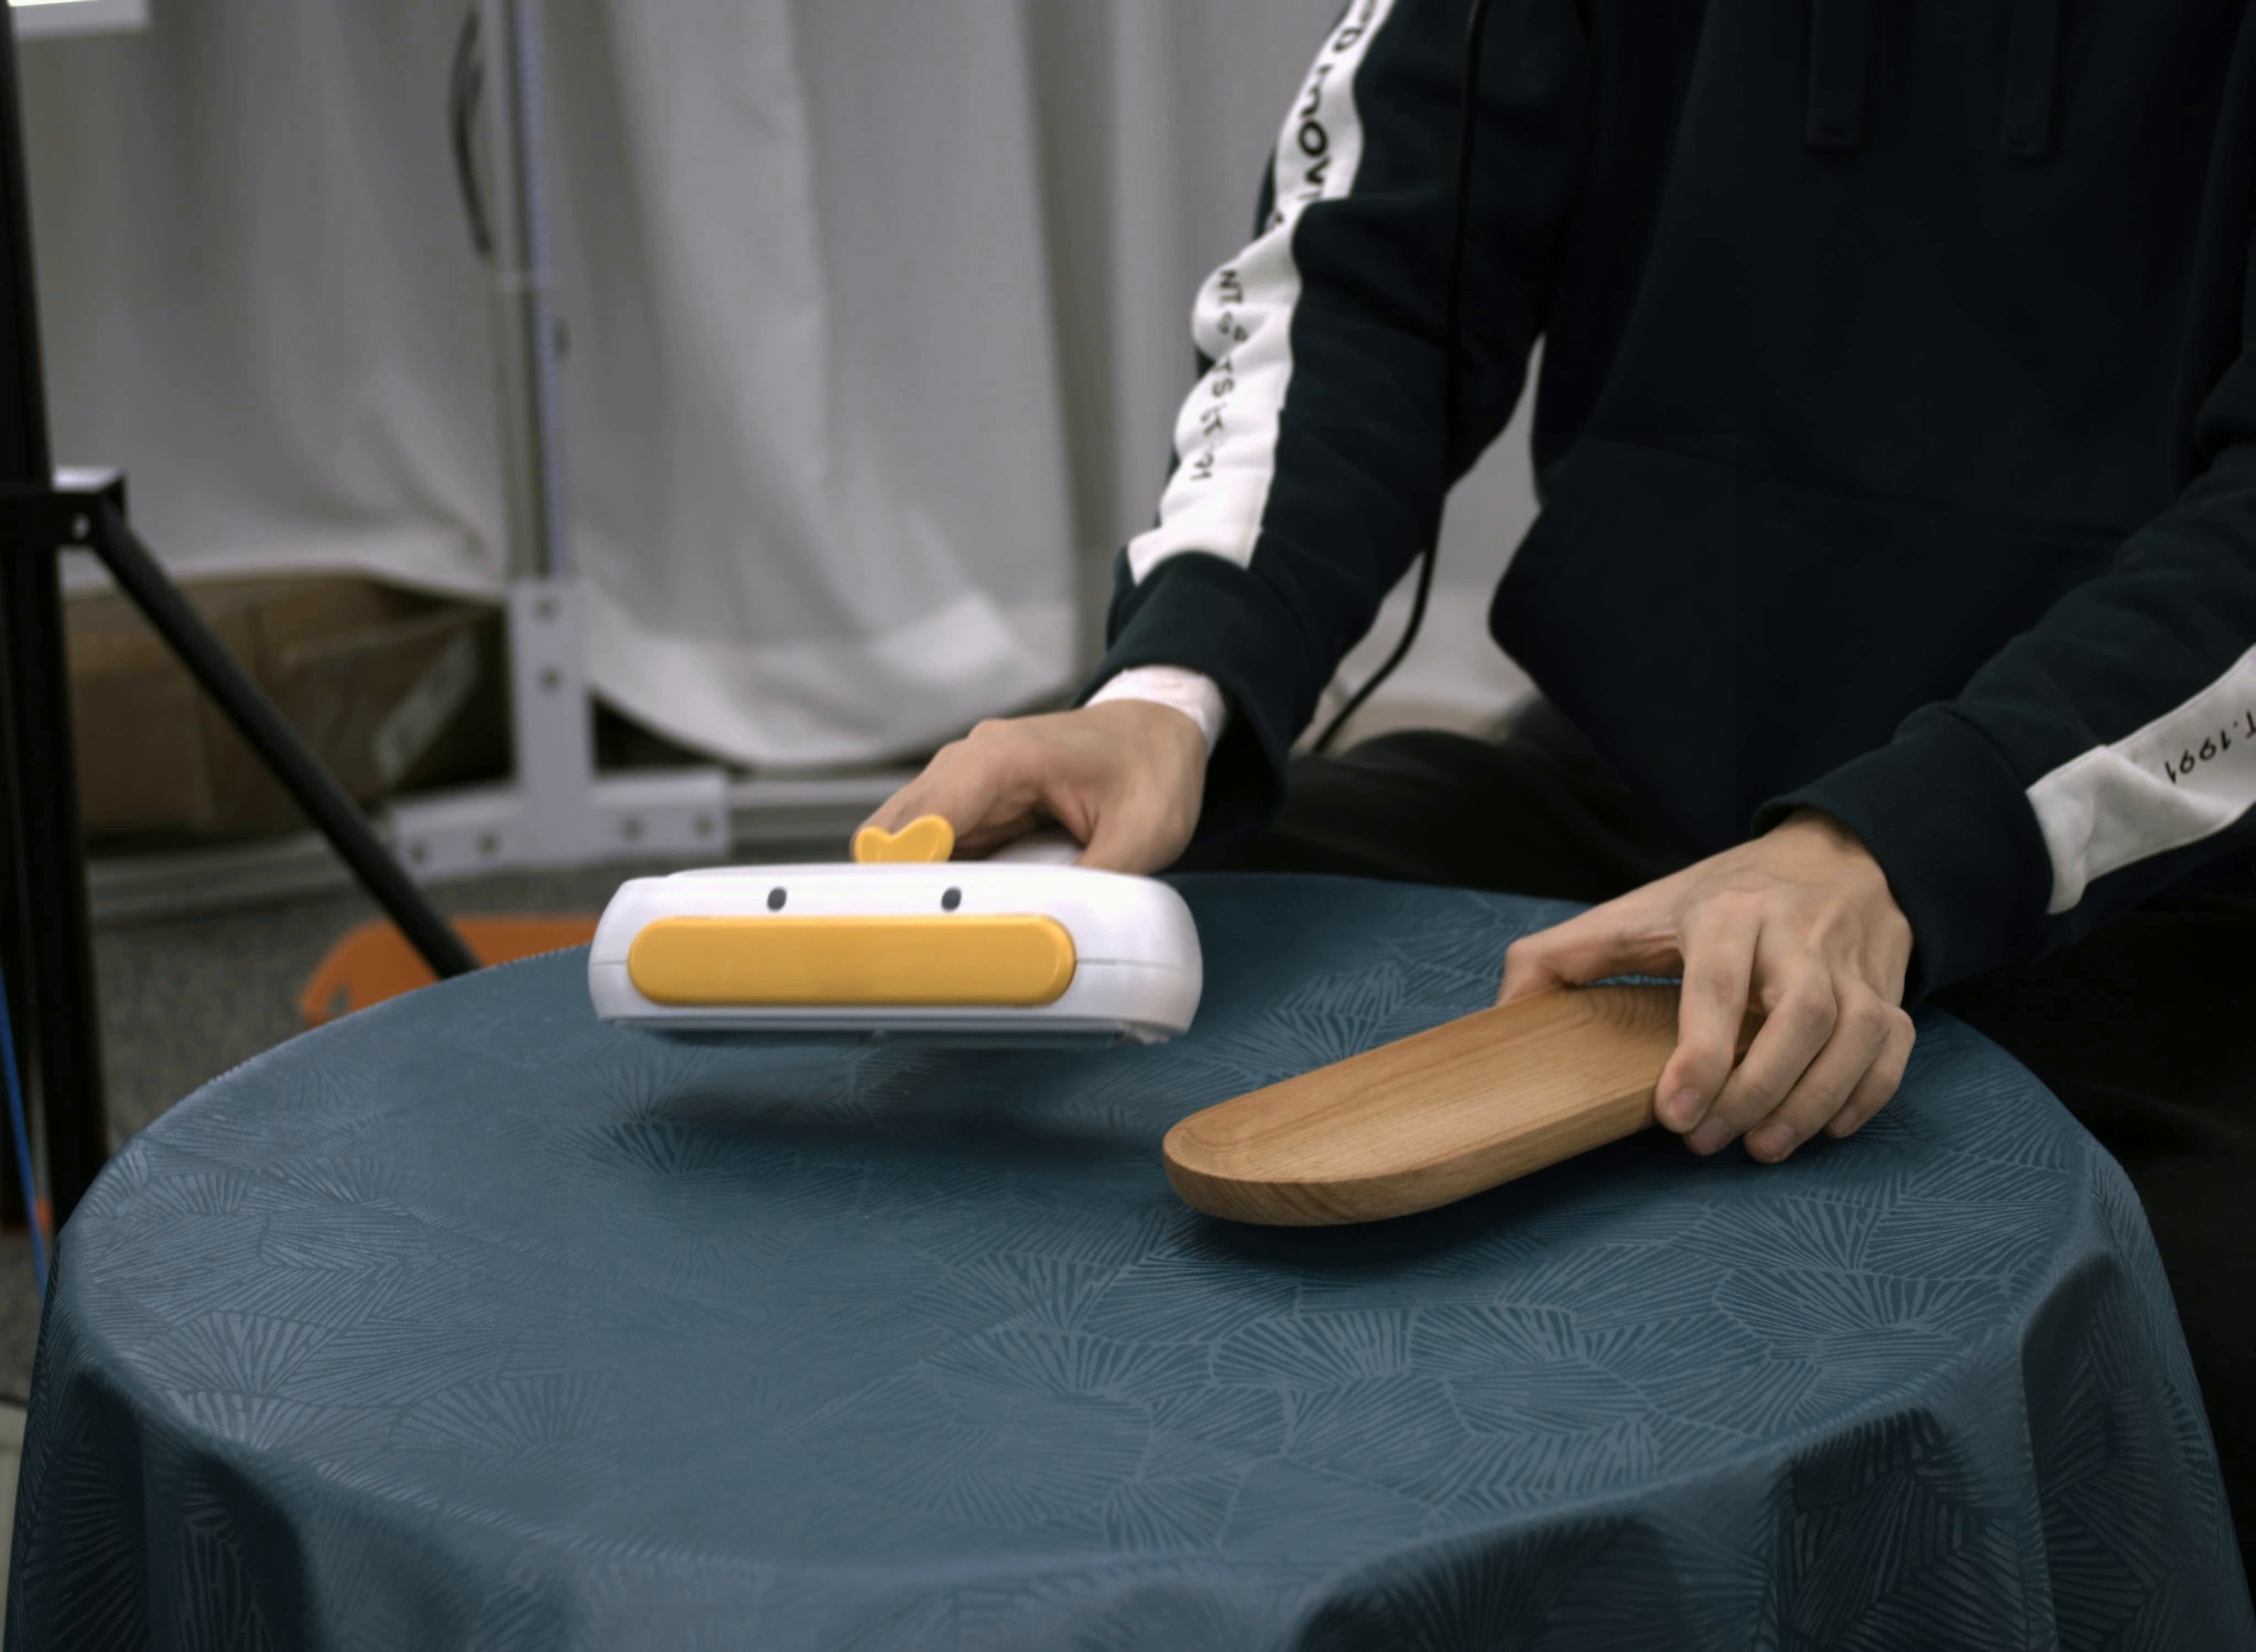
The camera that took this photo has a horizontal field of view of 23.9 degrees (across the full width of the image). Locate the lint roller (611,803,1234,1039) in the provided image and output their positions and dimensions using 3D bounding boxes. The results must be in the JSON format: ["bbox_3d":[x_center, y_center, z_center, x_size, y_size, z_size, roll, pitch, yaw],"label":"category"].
[{"bbox_3d":[-0.047,0.031,1.669,0.195,0.074,0.189,-6,-1,19],"label":"lint roller"}]

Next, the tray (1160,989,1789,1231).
[{"bbox_3d":[0.105,0.082,1.559,0.104,0.020,0.226,7,18,45],"label":"tray"}]
